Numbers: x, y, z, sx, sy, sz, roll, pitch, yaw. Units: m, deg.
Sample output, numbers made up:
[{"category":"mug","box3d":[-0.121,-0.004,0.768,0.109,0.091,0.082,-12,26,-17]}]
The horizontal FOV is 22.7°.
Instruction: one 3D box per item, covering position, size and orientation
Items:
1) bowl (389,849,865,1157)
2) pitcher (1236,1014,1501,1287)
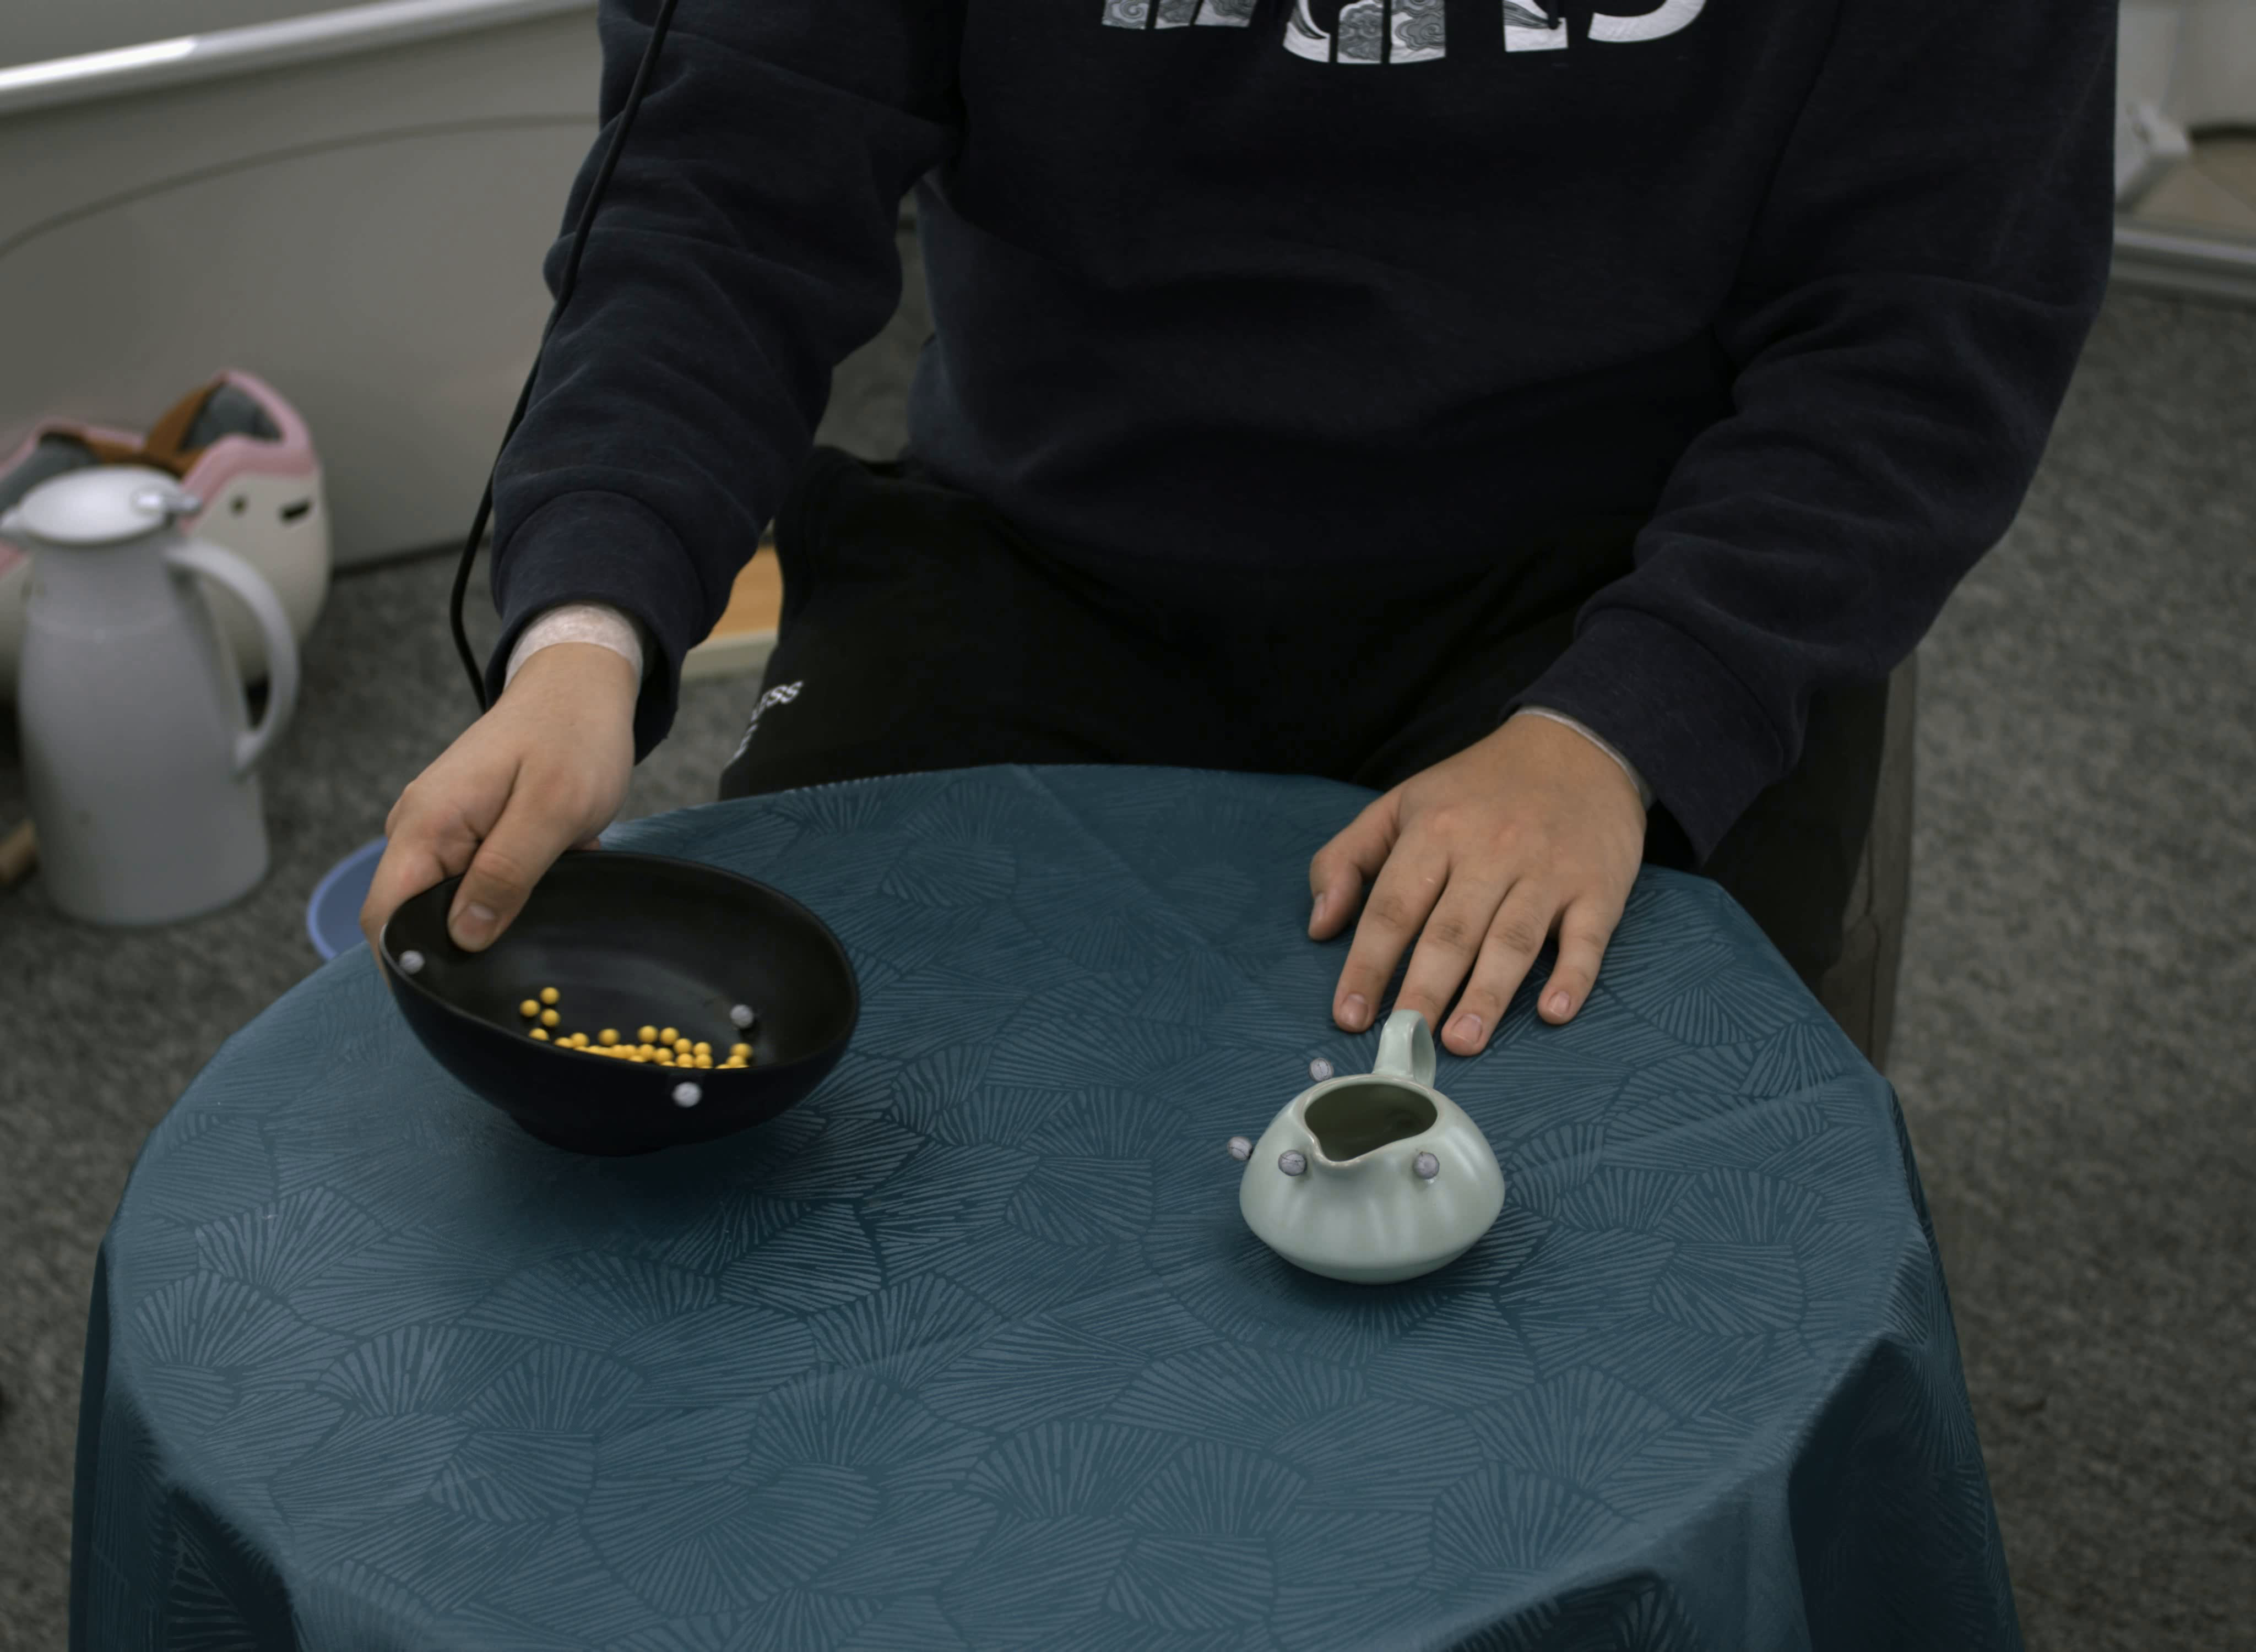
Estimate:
[{"category":"bowl","box3d":[-0.171,0.068,1.888,0.169,0.066,0.139,17,29,19]},{"category":"pitcher","box3d":[0.080,0.107,1.827,0.085,0.060,0.110,5,26,14]}]
